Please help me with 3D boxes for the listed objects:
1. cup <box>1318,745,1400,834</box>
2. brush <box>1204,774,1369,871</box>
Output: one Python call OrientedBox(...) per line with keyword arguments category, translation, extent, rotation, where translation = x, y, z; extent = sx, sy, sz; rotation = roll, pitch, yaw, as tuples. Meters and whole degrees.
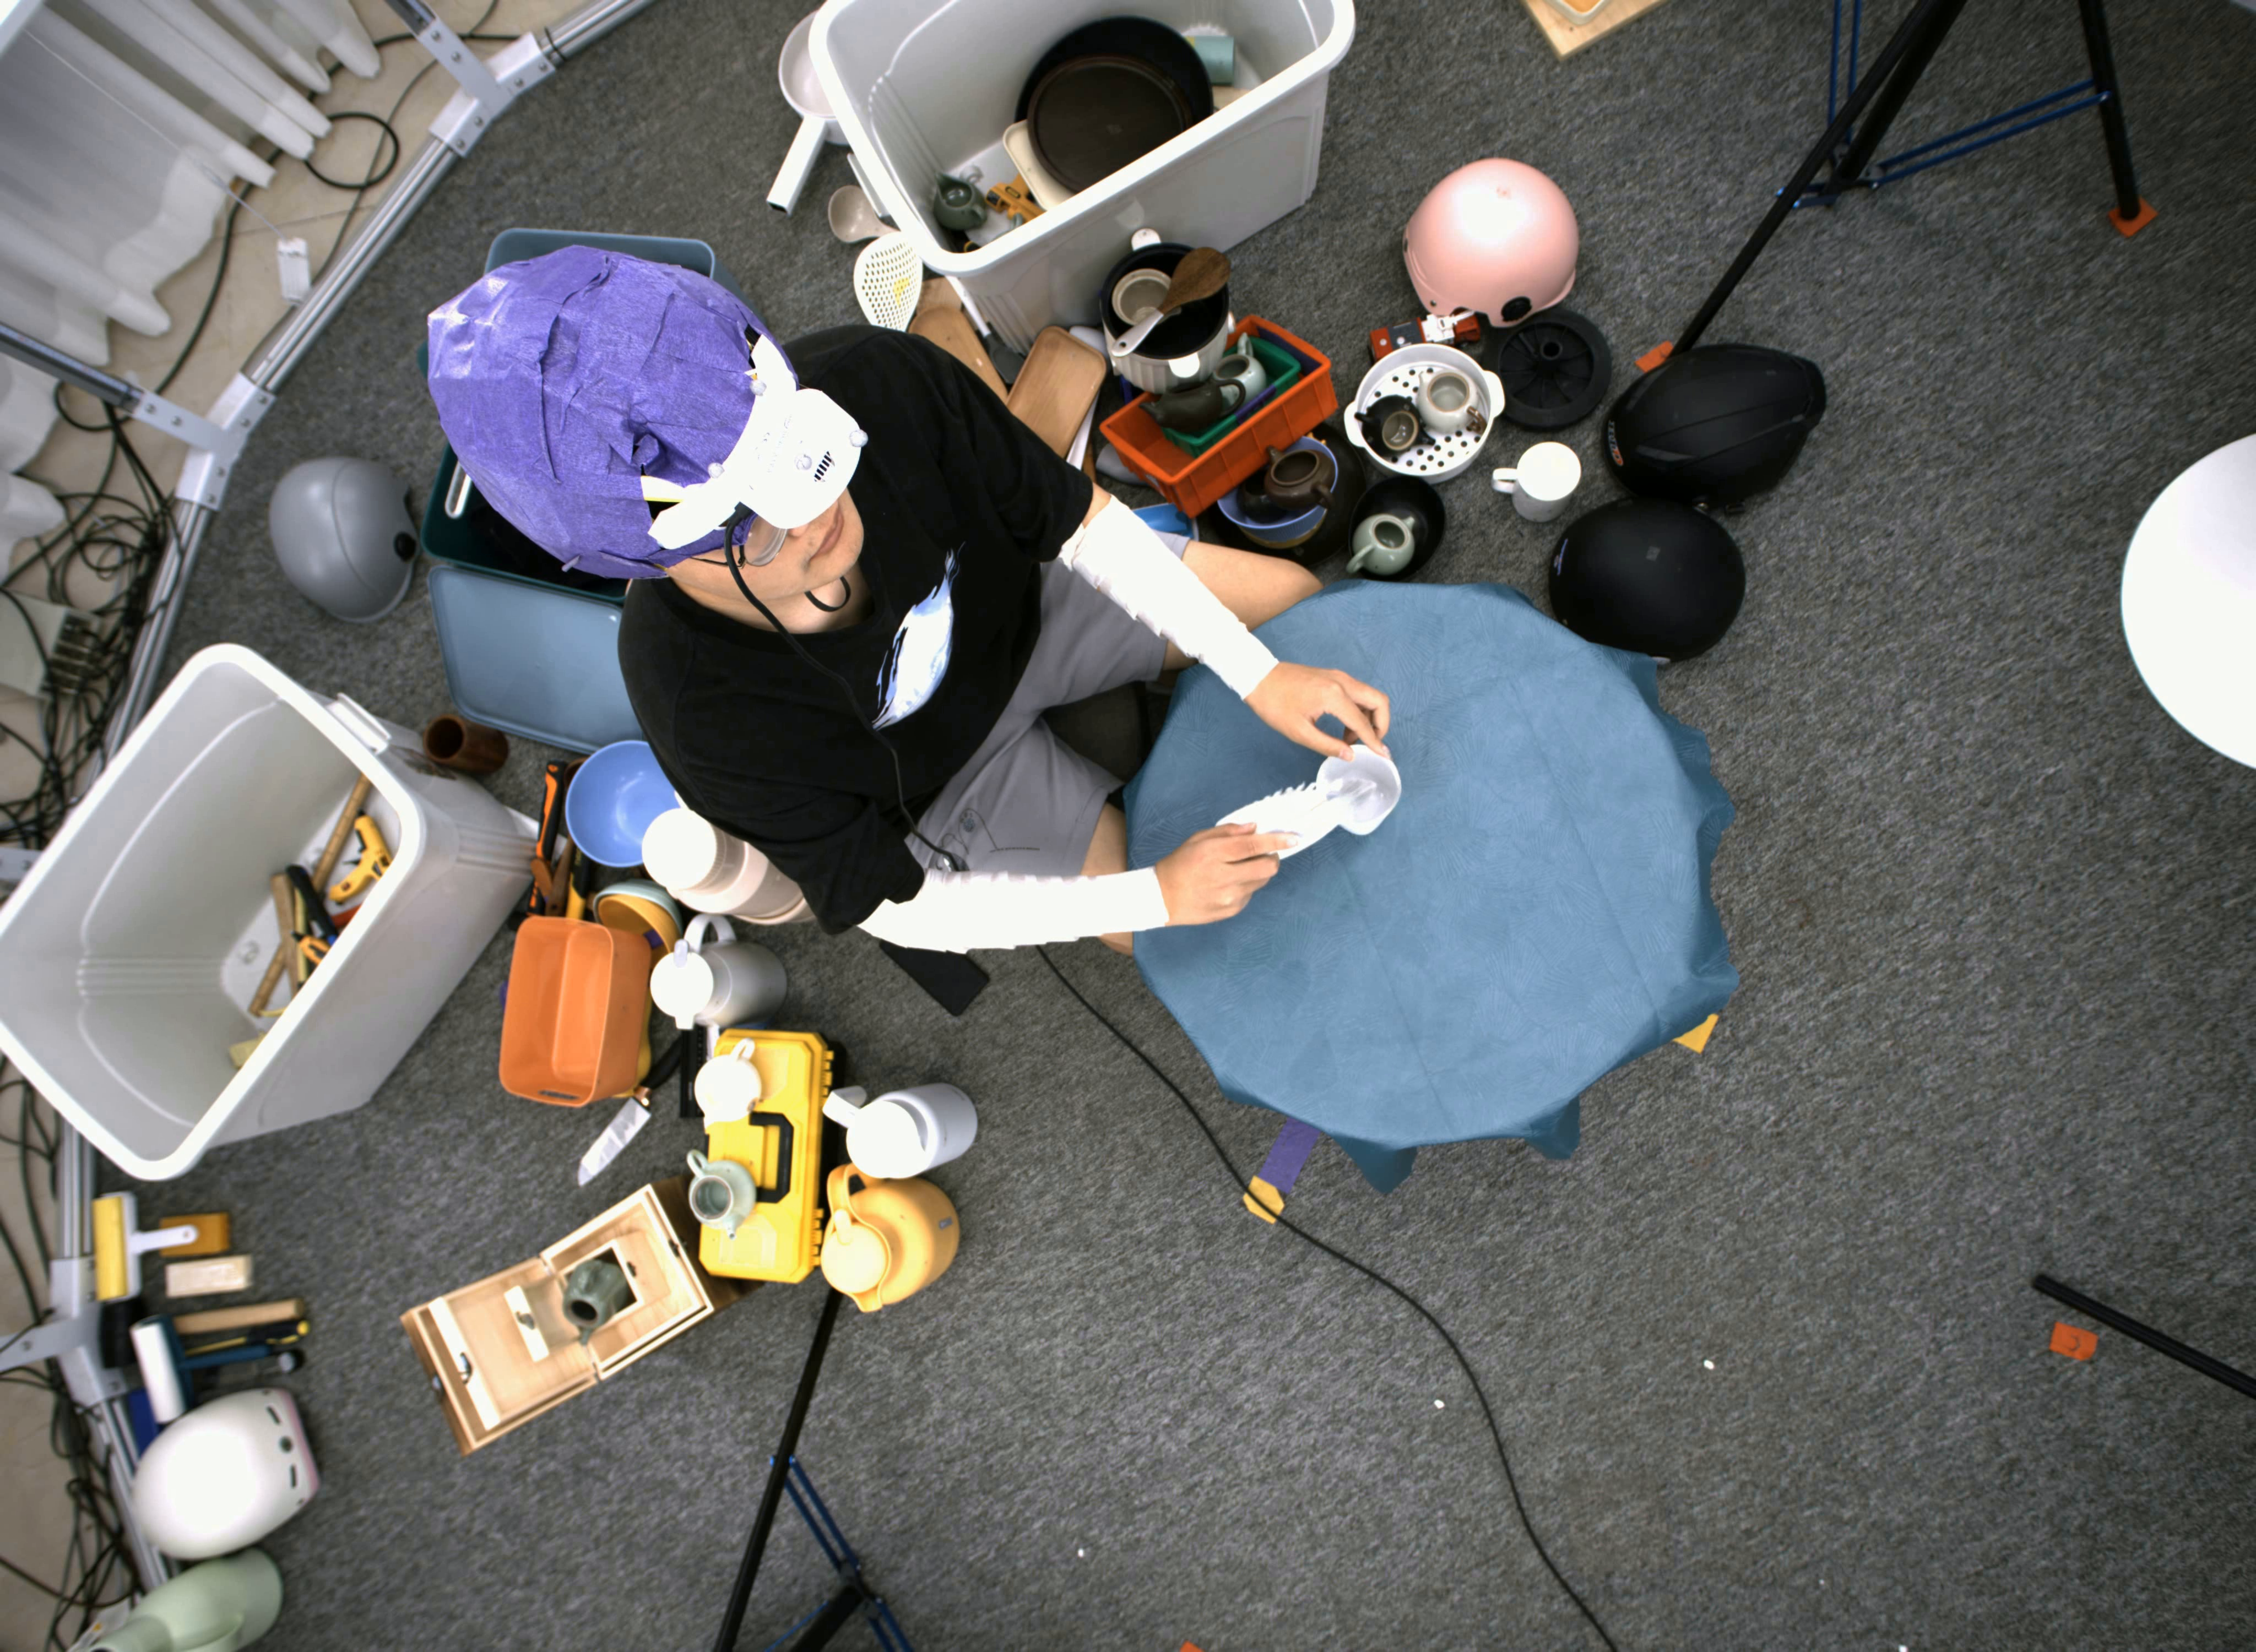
OrientedBox(category="cup", translation=(0.235, -0.035, 1.408), extent=(0.082, 0.125, 0.081), rotation=(-1, 86, 10))
OrientedBox(category="brush", translation=(0.147, -0.002, 1.338), extent=(0.178, 0.092, 0.062), rotation=(-23, 103, 38))
